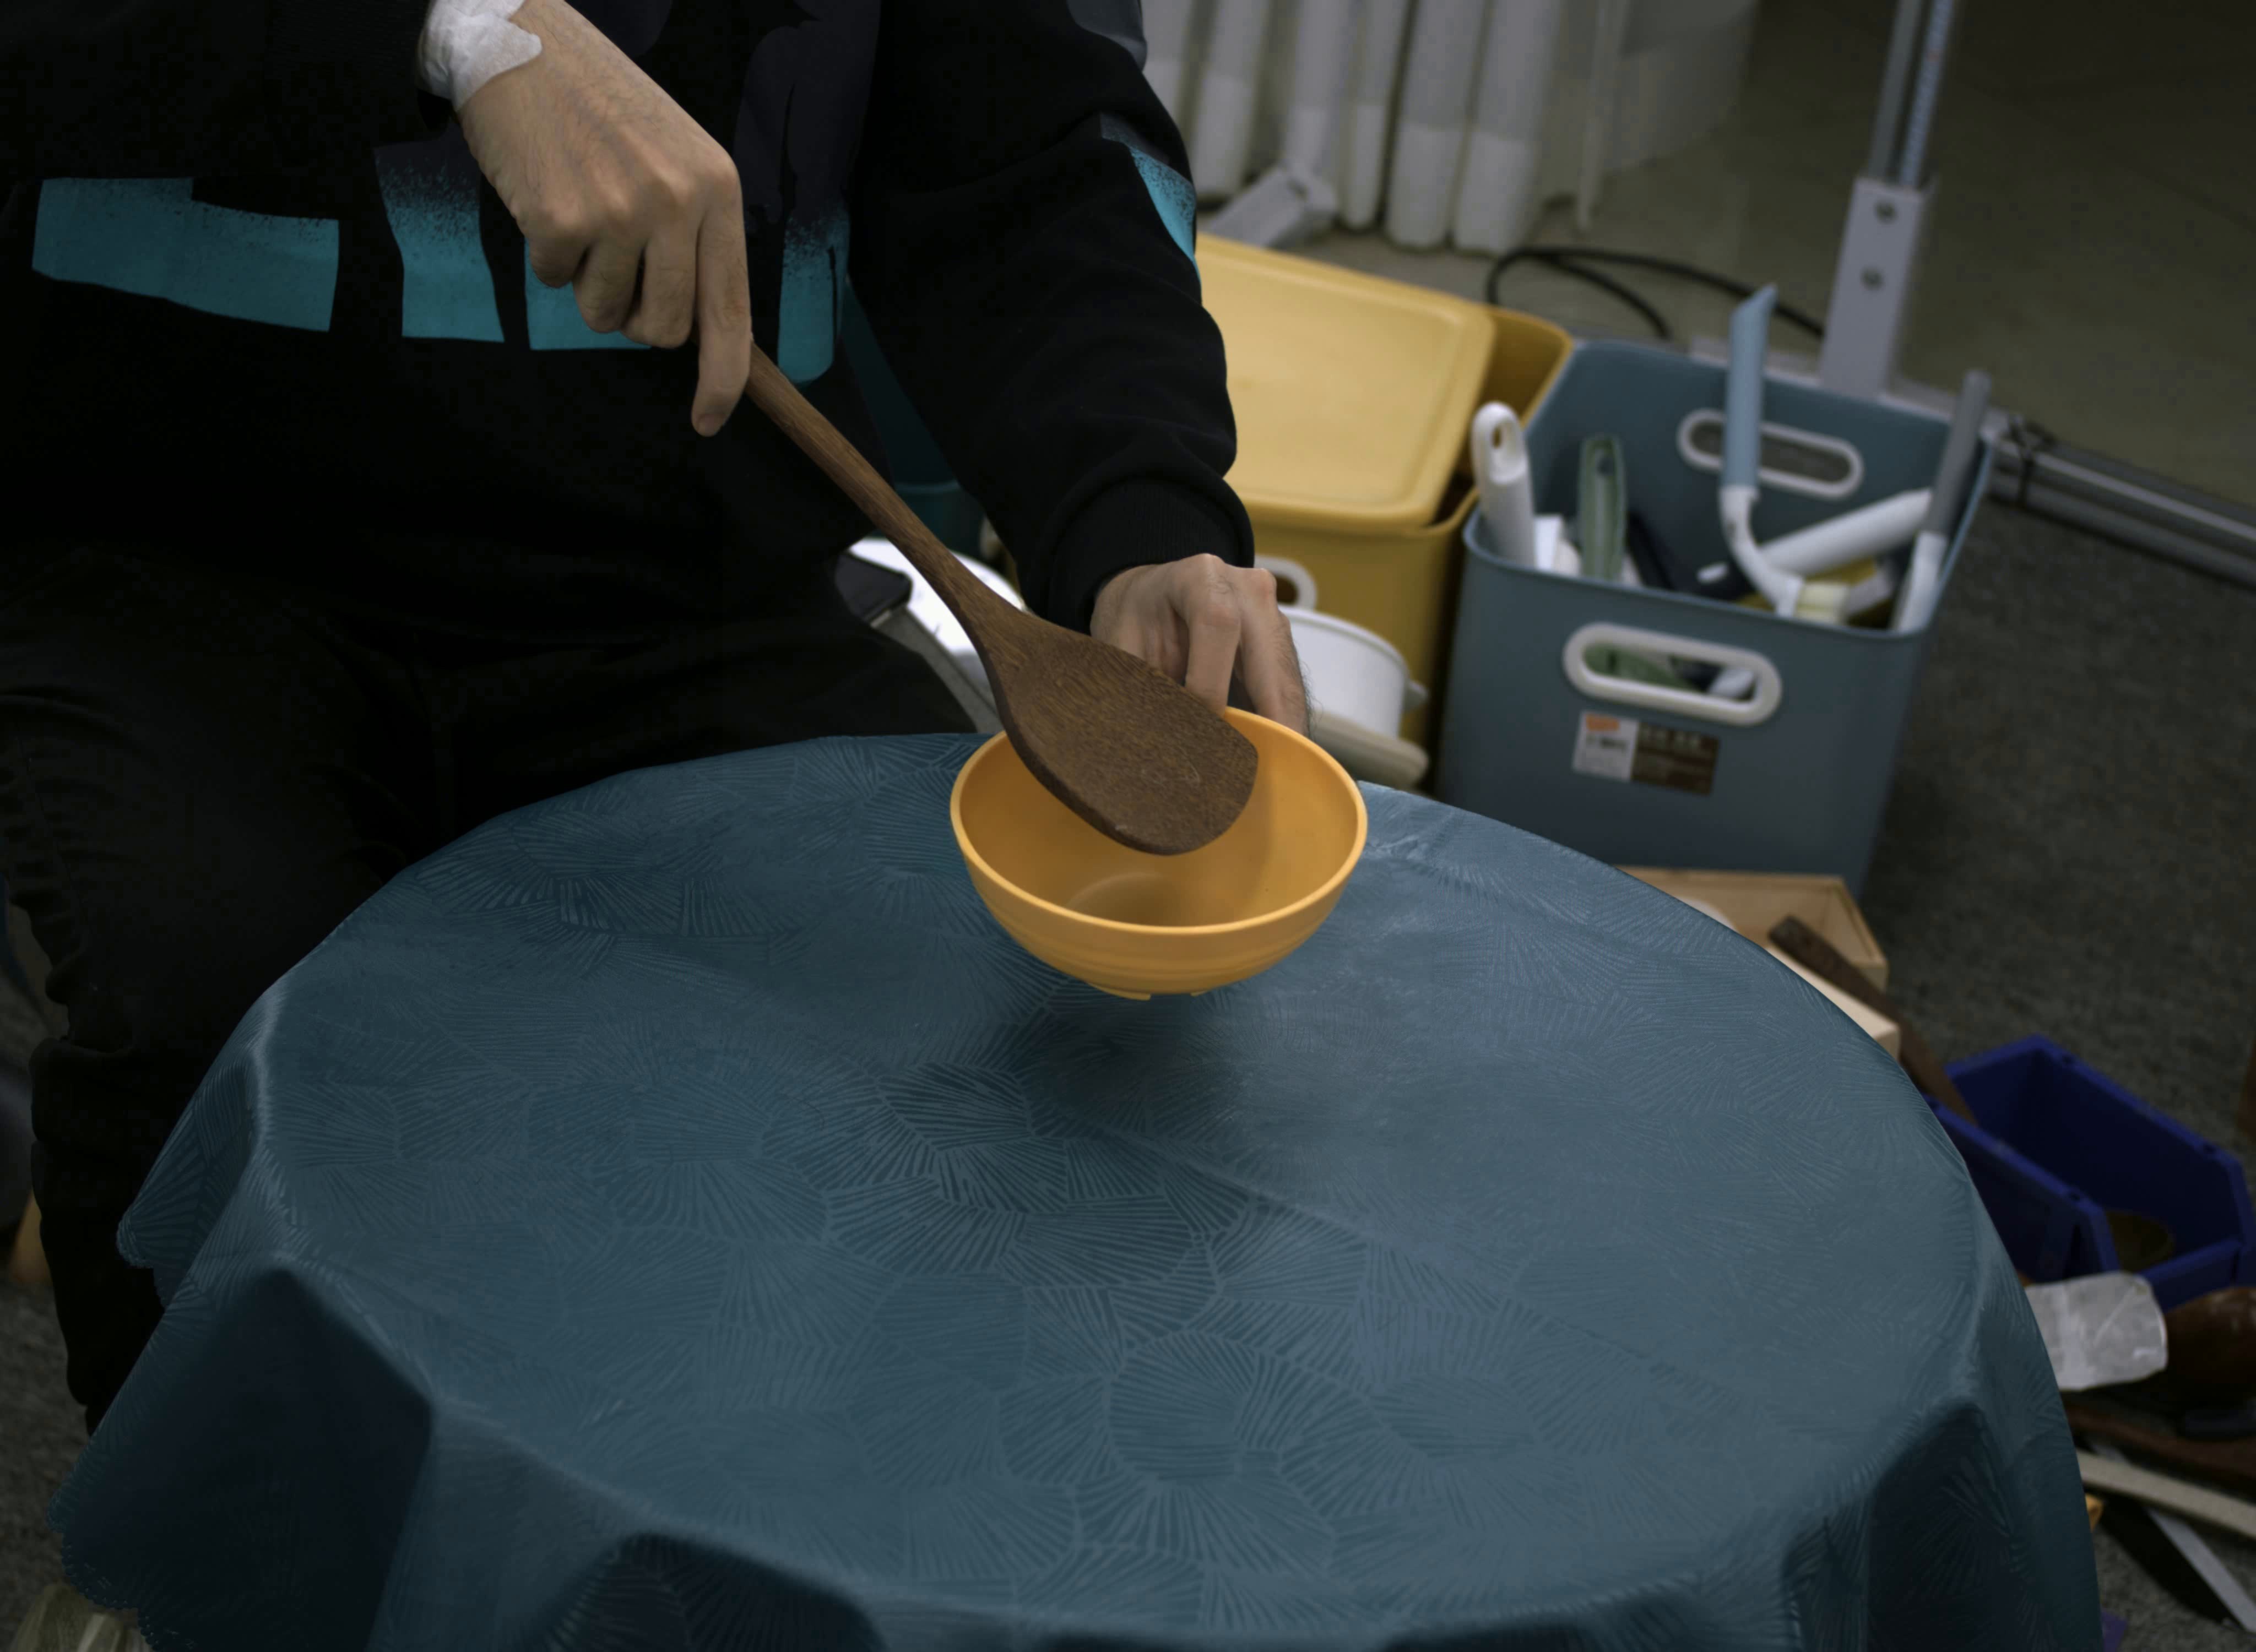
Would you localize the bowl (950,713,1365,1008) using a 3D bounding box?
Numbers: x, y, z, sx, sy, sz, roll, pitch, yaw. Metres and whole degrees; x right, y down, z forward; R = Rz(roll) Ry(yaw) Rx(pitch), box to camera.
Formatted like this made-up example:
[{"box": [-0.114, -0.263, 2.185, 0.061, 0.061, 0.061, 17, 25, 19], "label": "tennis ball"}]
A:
[{"box": [0.008, 0.021, 1.854, 0.145, 0.060, 0.146, 3, 32, -2], "label": "bowl"}]

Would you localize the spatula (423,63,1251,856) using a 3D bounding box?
[{"box": [-0.106, -0.132, 1.852, 0.386, 0.016, 0.096, 45, 36, 3], "label": "spatula"}]
